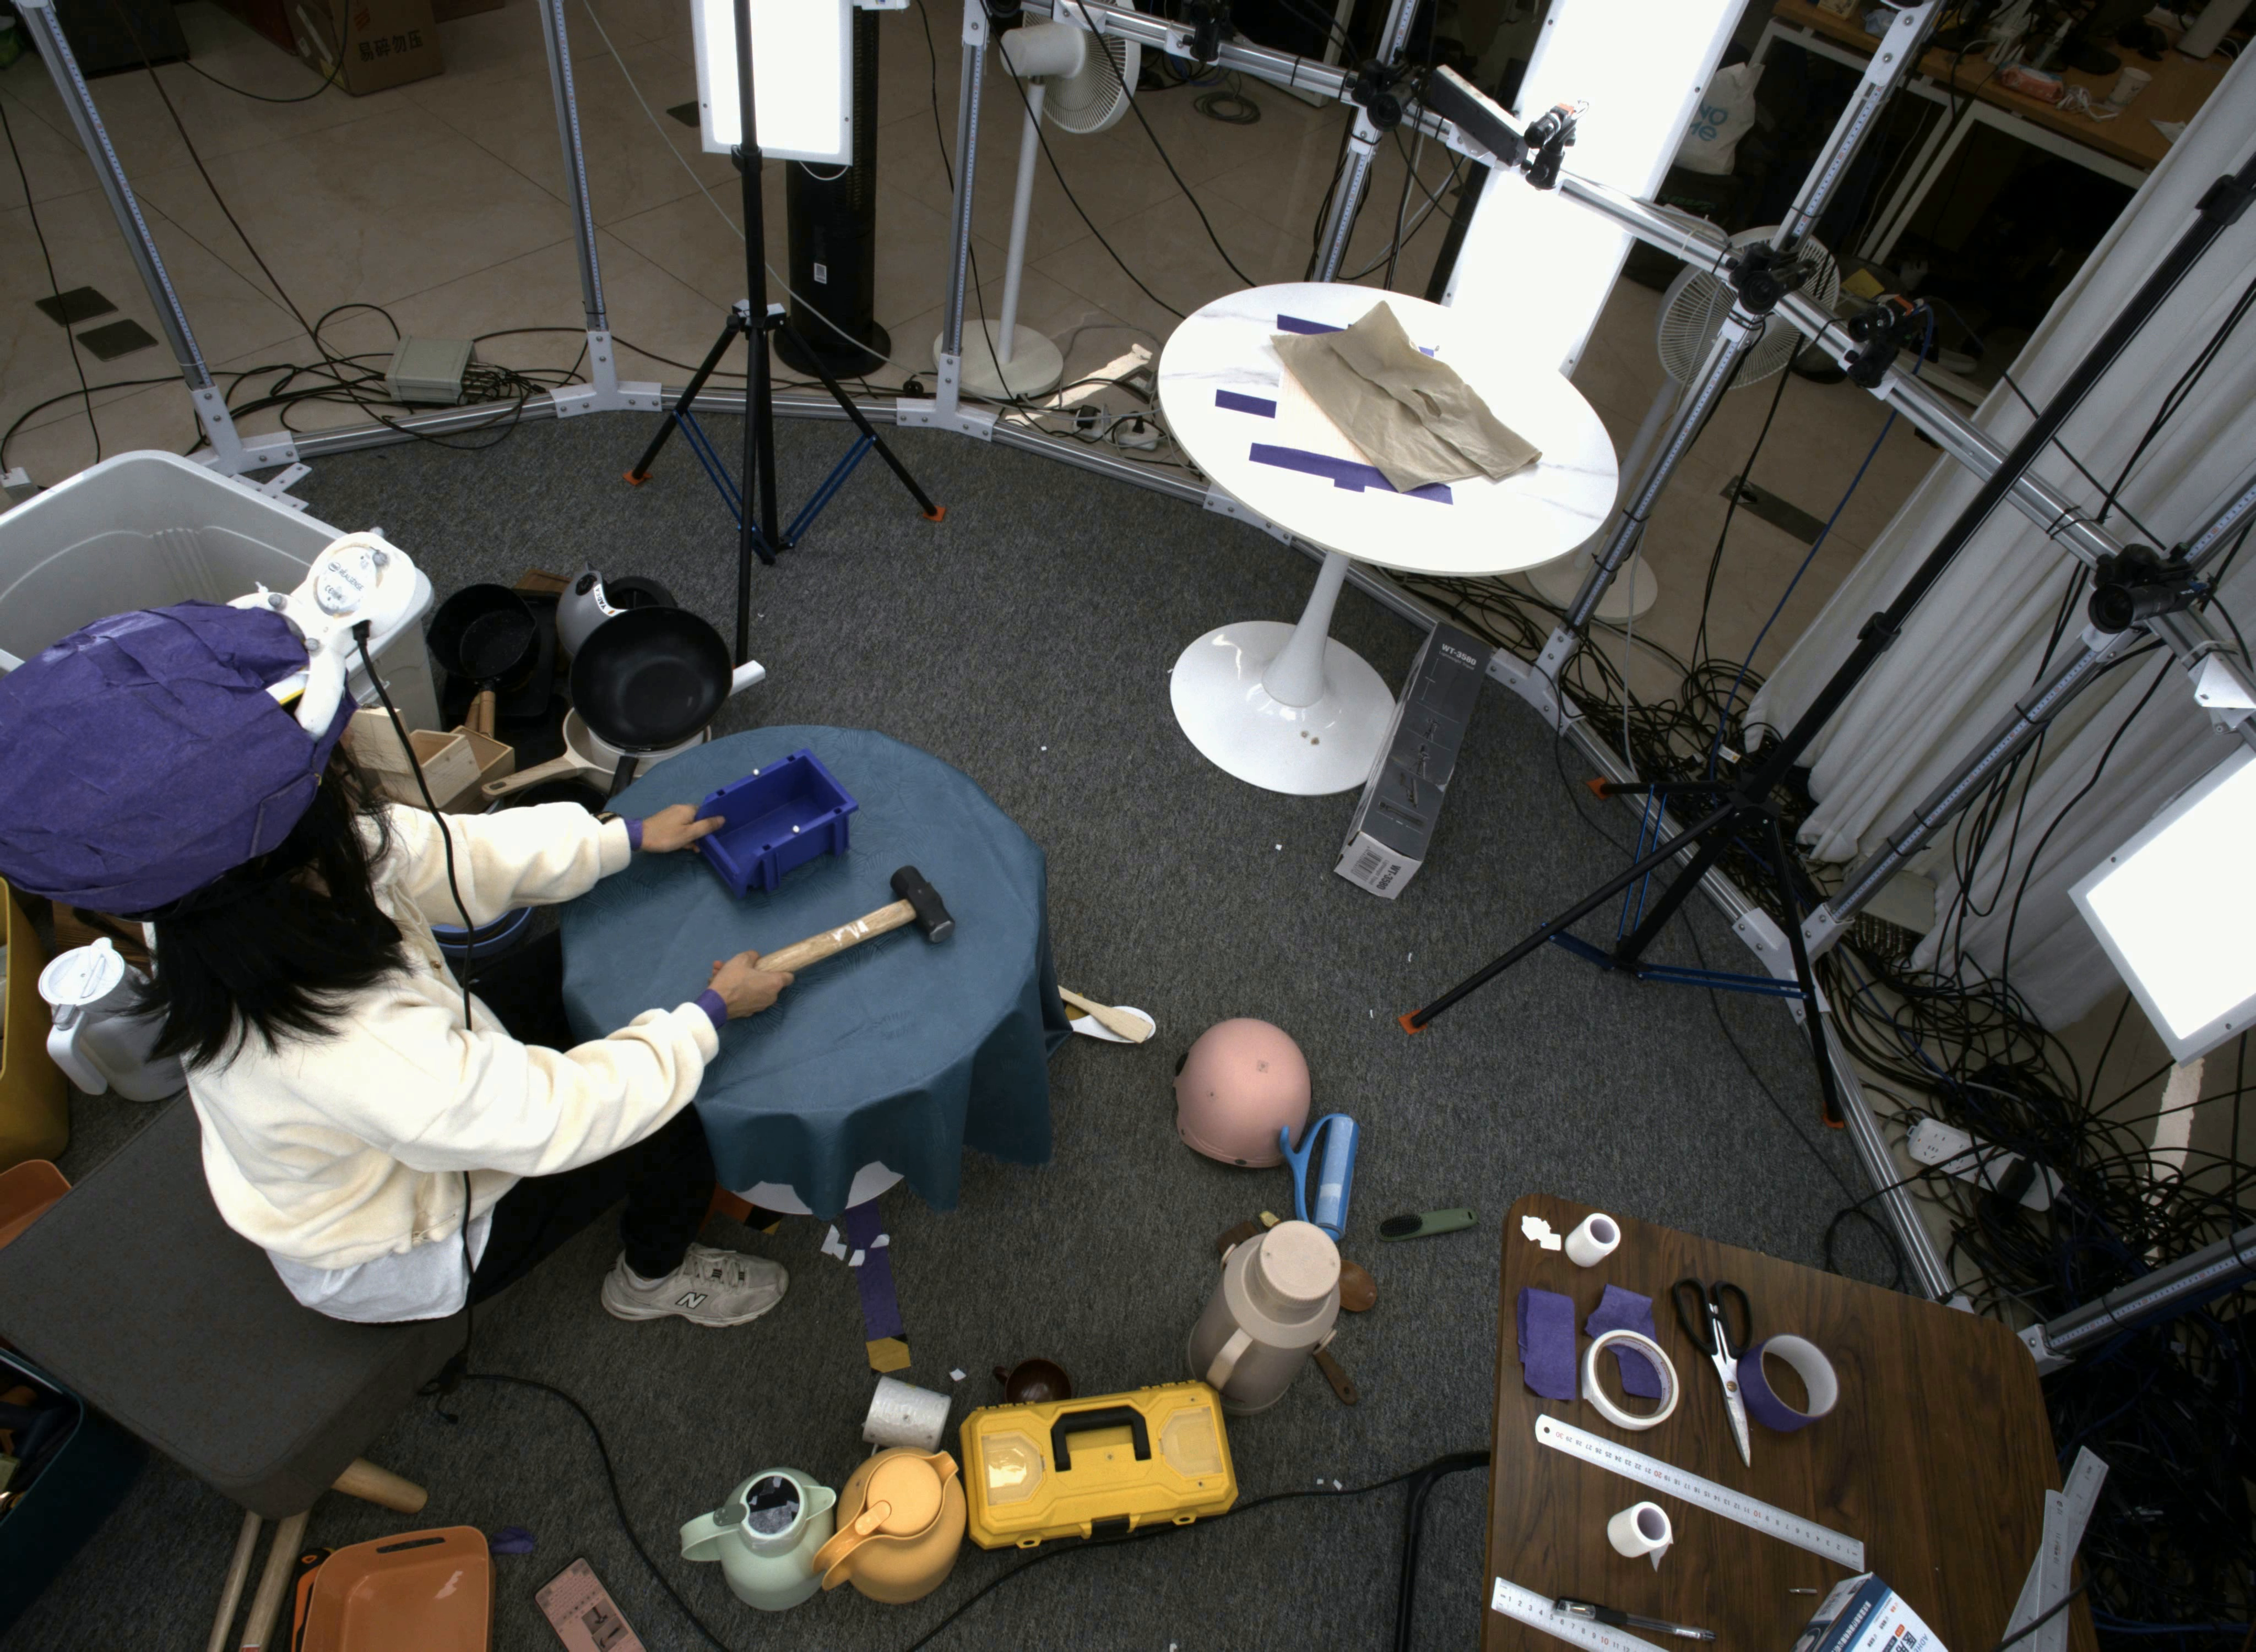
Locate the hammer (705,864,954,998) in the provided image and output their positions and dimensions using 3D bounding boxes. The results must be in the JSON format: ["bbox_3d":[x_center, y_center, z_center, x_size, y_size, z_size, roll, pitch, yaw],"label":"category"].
[{"bbox_3d":[-0.368,0.138,1.590,0.307,0.039,0.104,-21,61,-33],"label":"hammer"}]

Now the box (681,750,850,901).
[{"bbox_3d":[-0.462,0.003,1.653,0.180,0.083,0.121,-30,64,-34],"label":"box"}]
